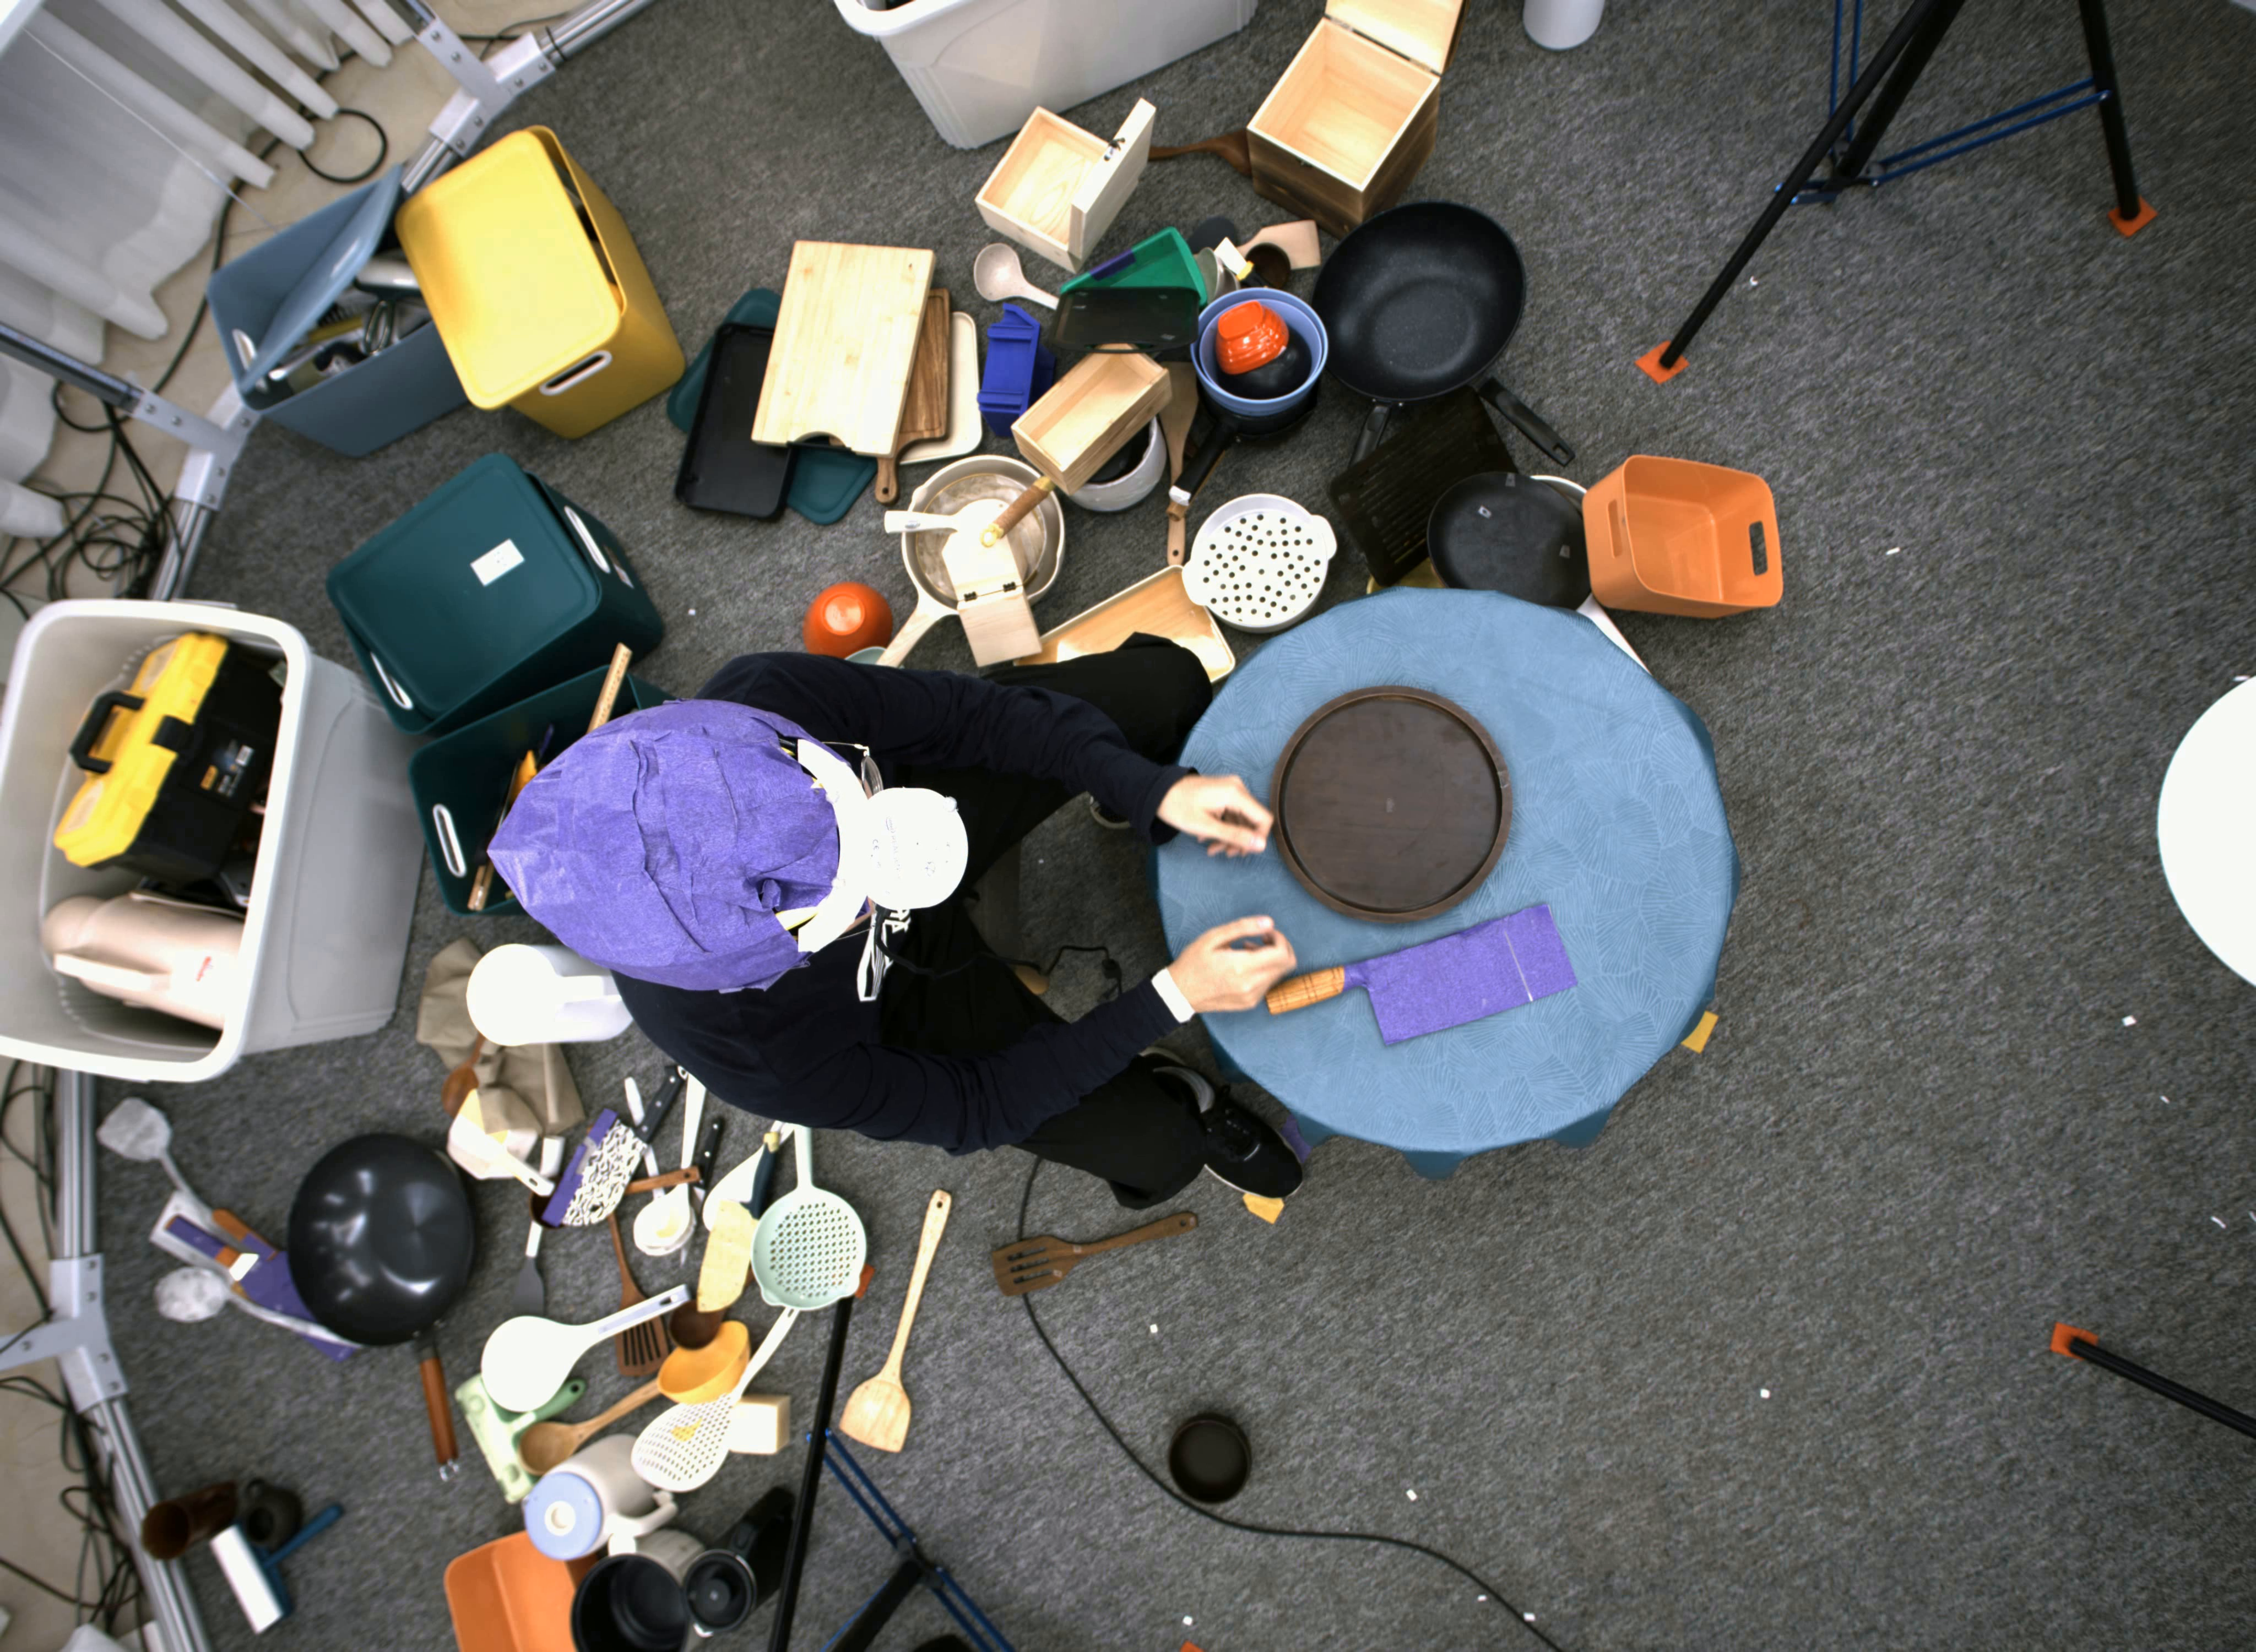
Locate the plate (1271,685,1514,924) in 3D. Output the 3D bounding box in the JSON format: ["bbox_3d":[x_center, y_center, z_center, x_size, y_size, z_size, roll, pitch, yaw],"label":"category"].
[{"bbox_3d":[0.277,-0.025,1.452,0.256,0.029,0.253,-1,86,10],"label":"plate"}]

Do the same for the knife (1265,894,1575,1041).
[{"bbox_3d":[0.304,0.165,1.435,0.317,0.032,0.103,-19,83,9],"label":"knife"}]
